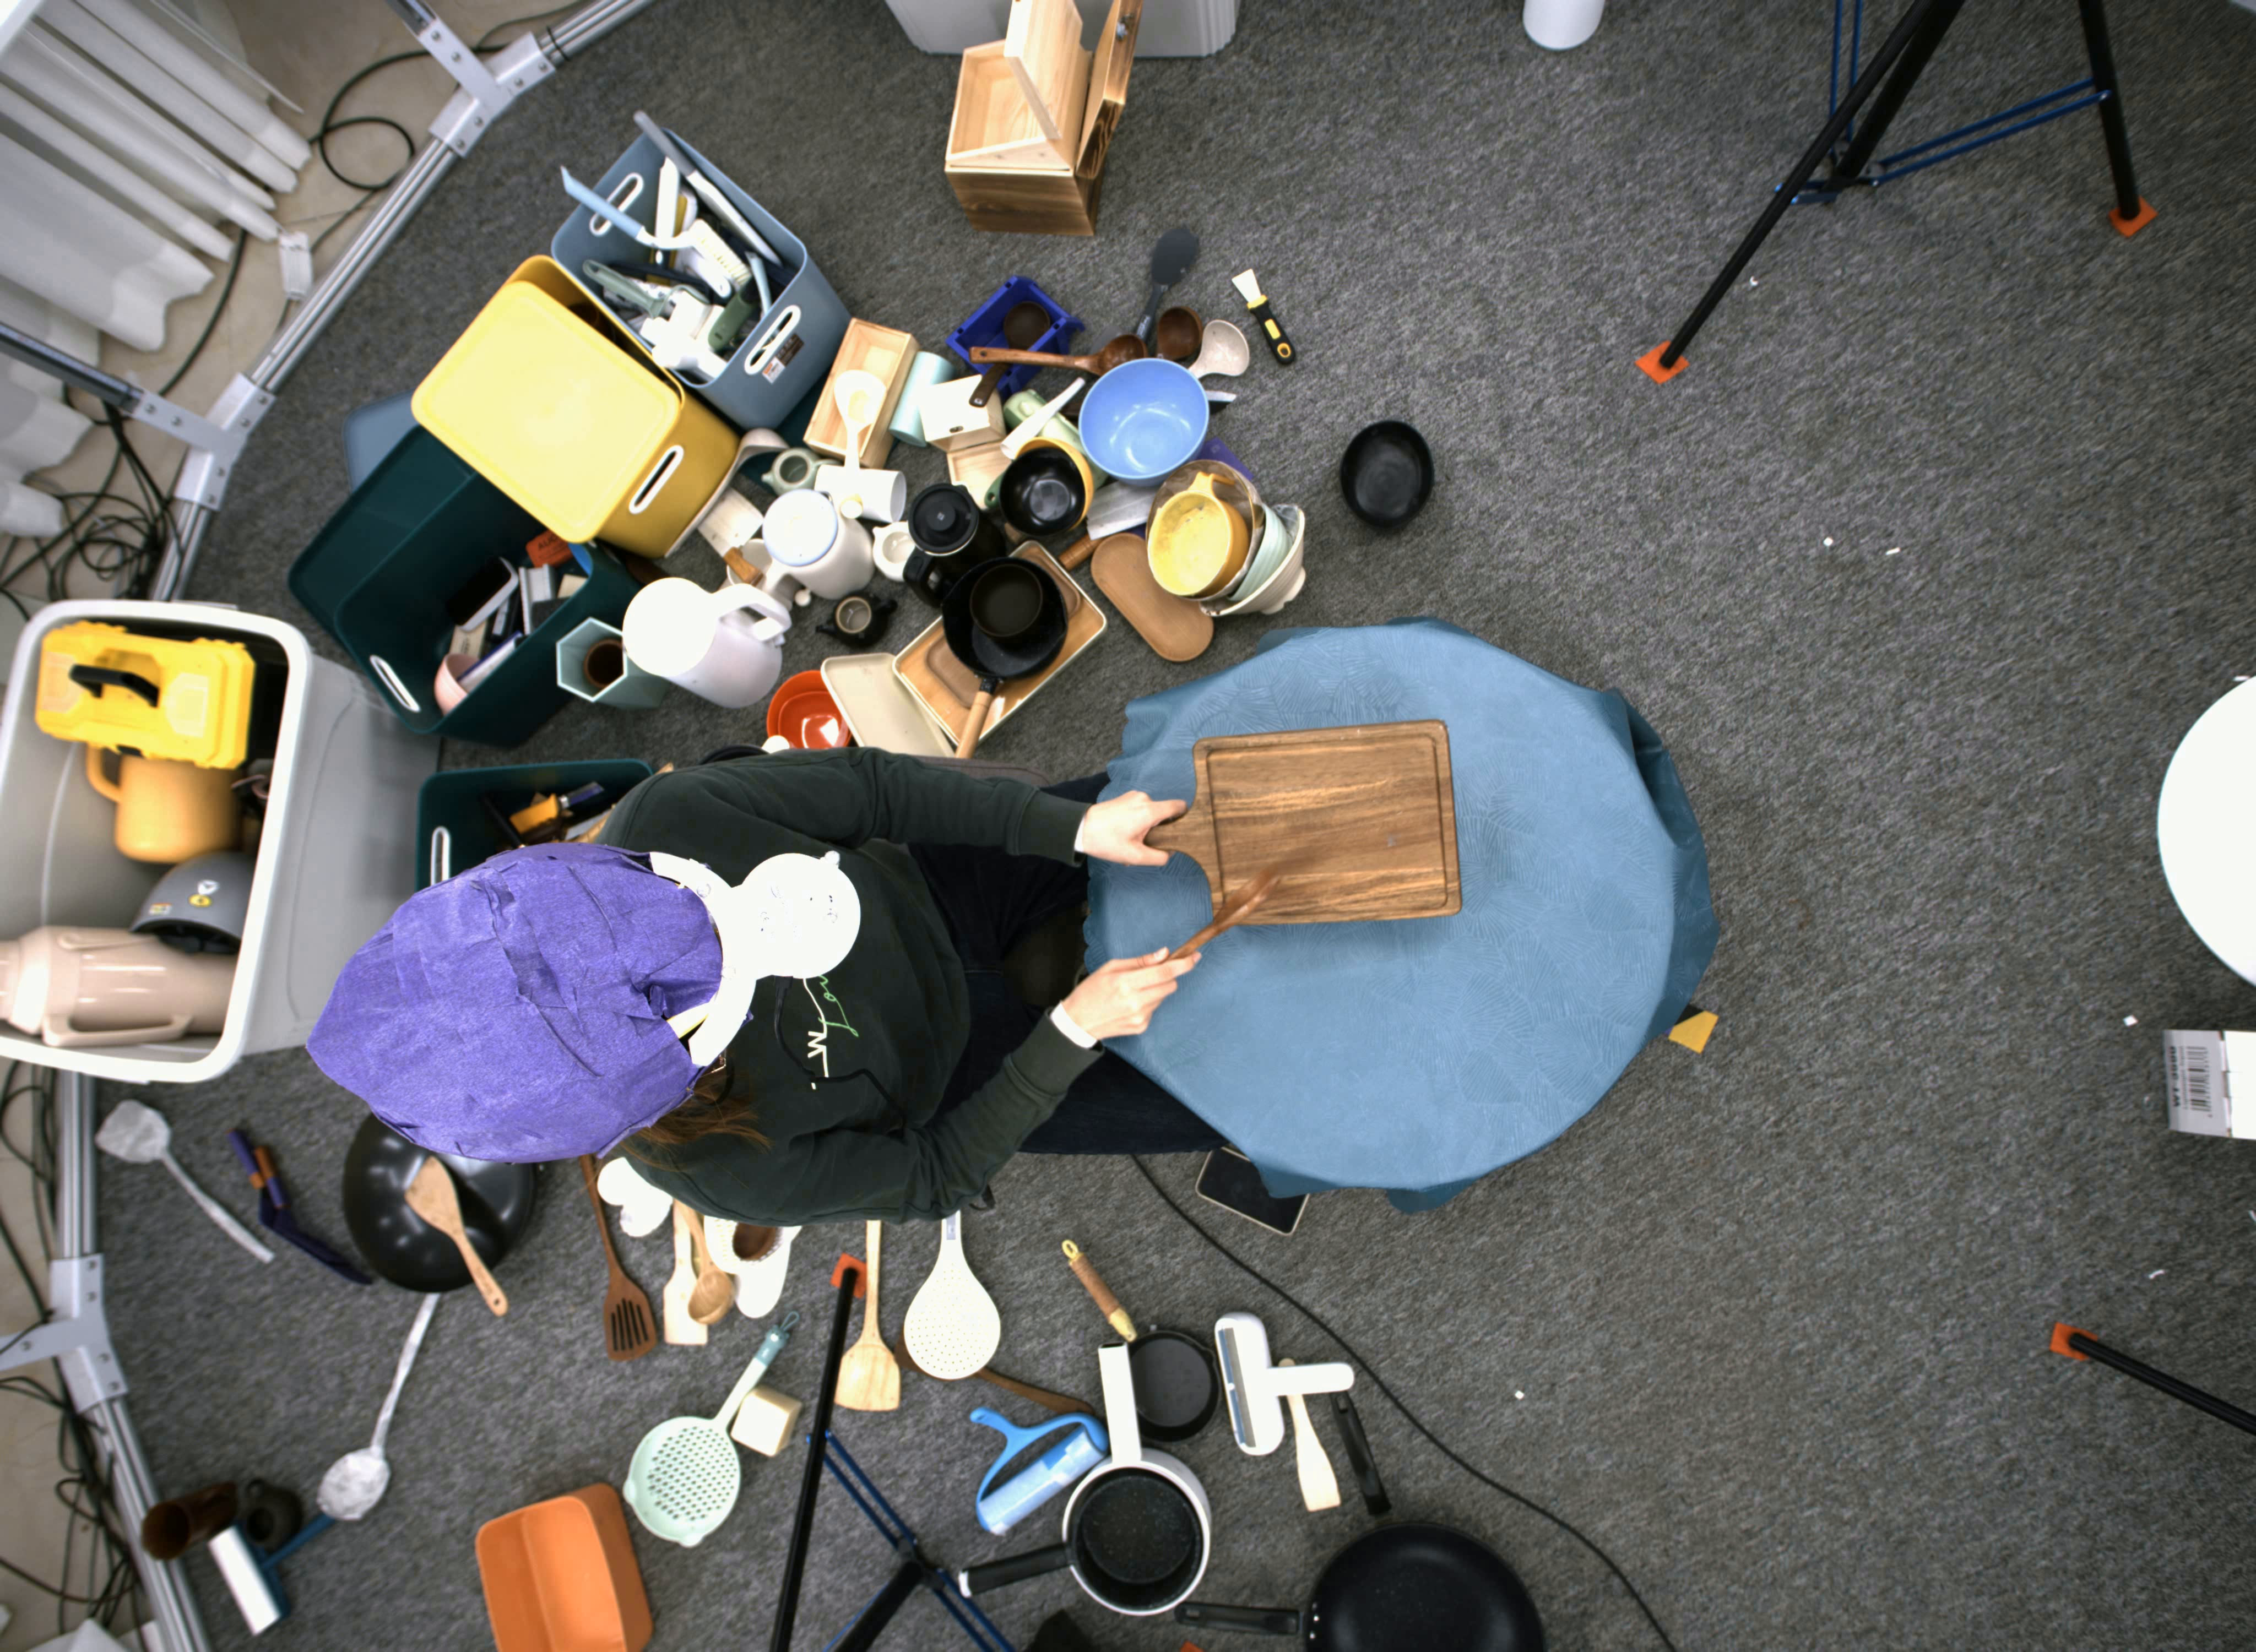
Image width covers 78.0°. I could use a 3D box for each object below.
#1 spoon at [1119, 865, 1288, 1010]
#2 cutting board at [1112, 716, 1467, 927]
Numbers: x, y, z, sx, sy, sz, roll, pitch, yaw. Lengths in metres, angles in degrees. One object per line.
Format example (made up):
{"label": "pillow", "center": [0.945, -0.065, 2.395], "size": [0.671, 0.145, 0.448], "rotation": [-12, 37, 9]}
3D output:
{"label": "spoon", "center": [0.075, 0.111, 1.347], "size": [0.218, 0.074, 0.017], "rotation": [-40, 103, 16]}
{"label": "cutting board", "center": [0.154, 0.002, 1.385], "size": [0.354, 0.023, 0.203], "rotation": [-4, 108, 17]}
